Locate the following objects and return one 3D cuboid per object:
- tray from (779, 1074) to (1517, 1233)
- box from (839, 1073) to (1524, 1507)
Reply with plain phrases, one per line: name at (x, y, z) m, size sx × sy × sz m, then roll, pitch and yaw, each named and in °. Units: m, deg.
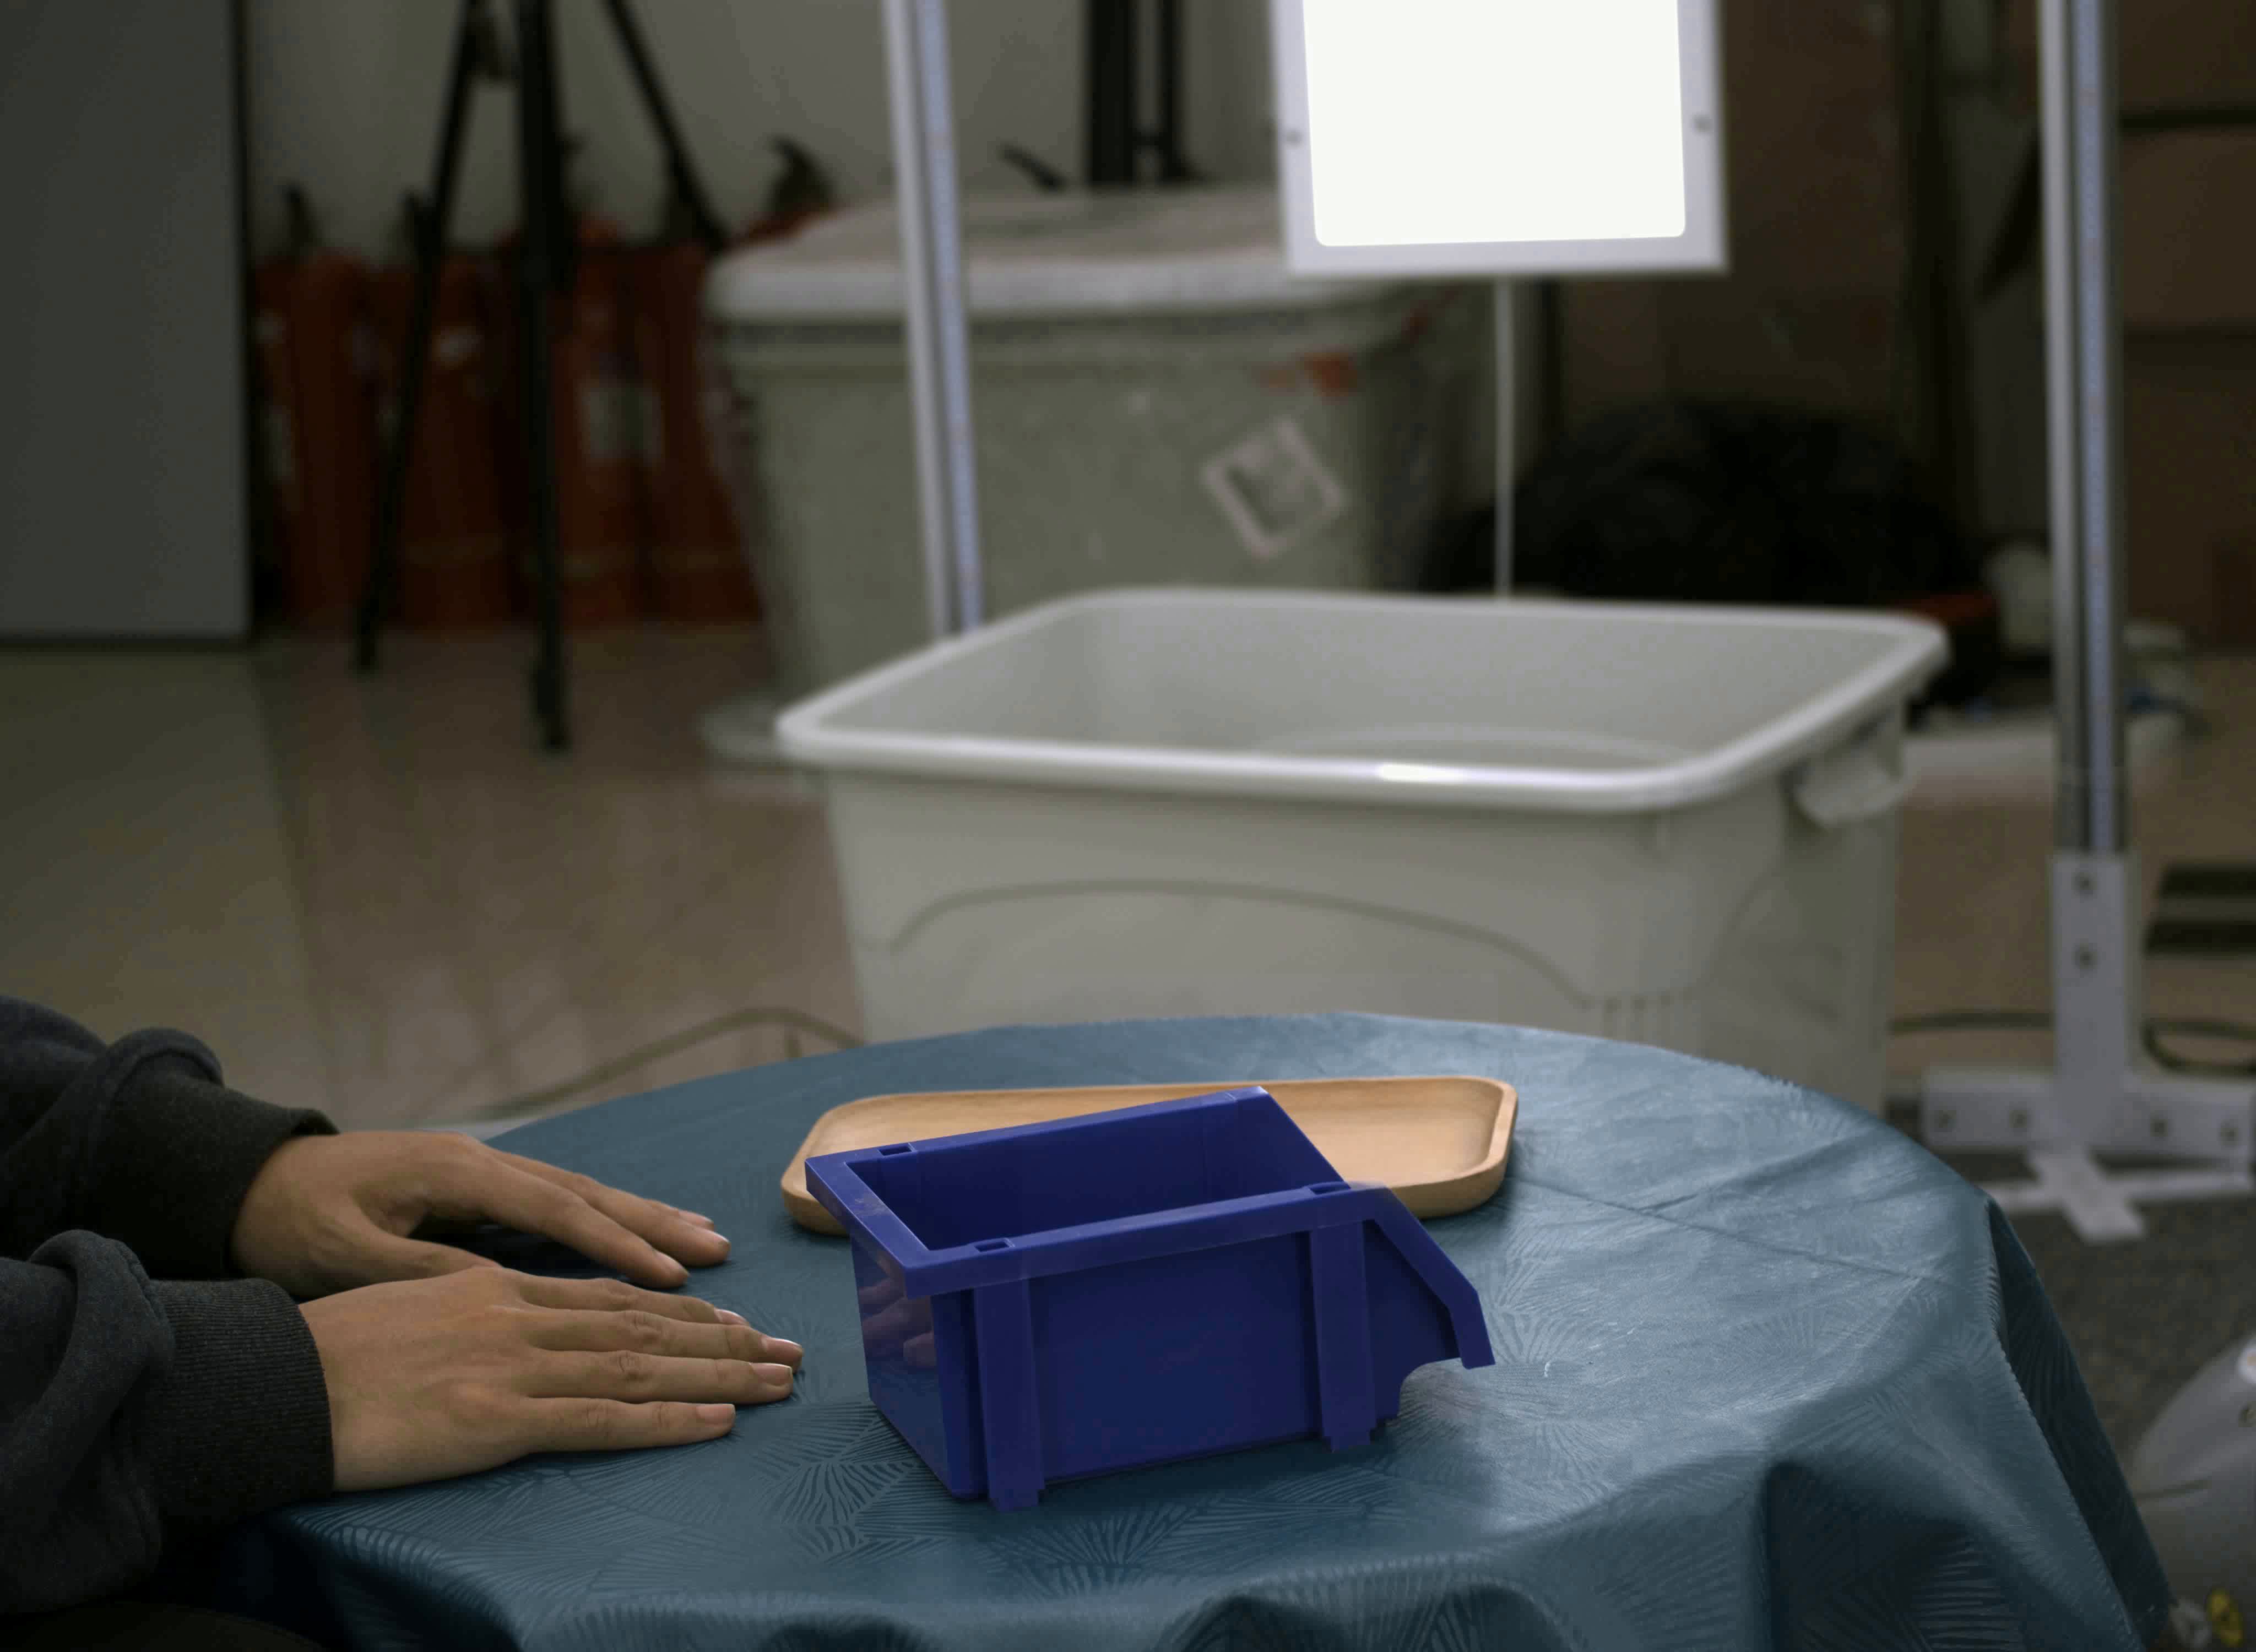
tray at (0.009, 0.114, 1.909) m, size 0.252 × 0.023 × 0.129 m, roll -3°, pitch 11°, yaw 11°
box at (0.015, 0.137, 1.675) m, size 0.177 × 0.082 × 0.125 m, roll -11°, pitch 14°, yaw -11°
